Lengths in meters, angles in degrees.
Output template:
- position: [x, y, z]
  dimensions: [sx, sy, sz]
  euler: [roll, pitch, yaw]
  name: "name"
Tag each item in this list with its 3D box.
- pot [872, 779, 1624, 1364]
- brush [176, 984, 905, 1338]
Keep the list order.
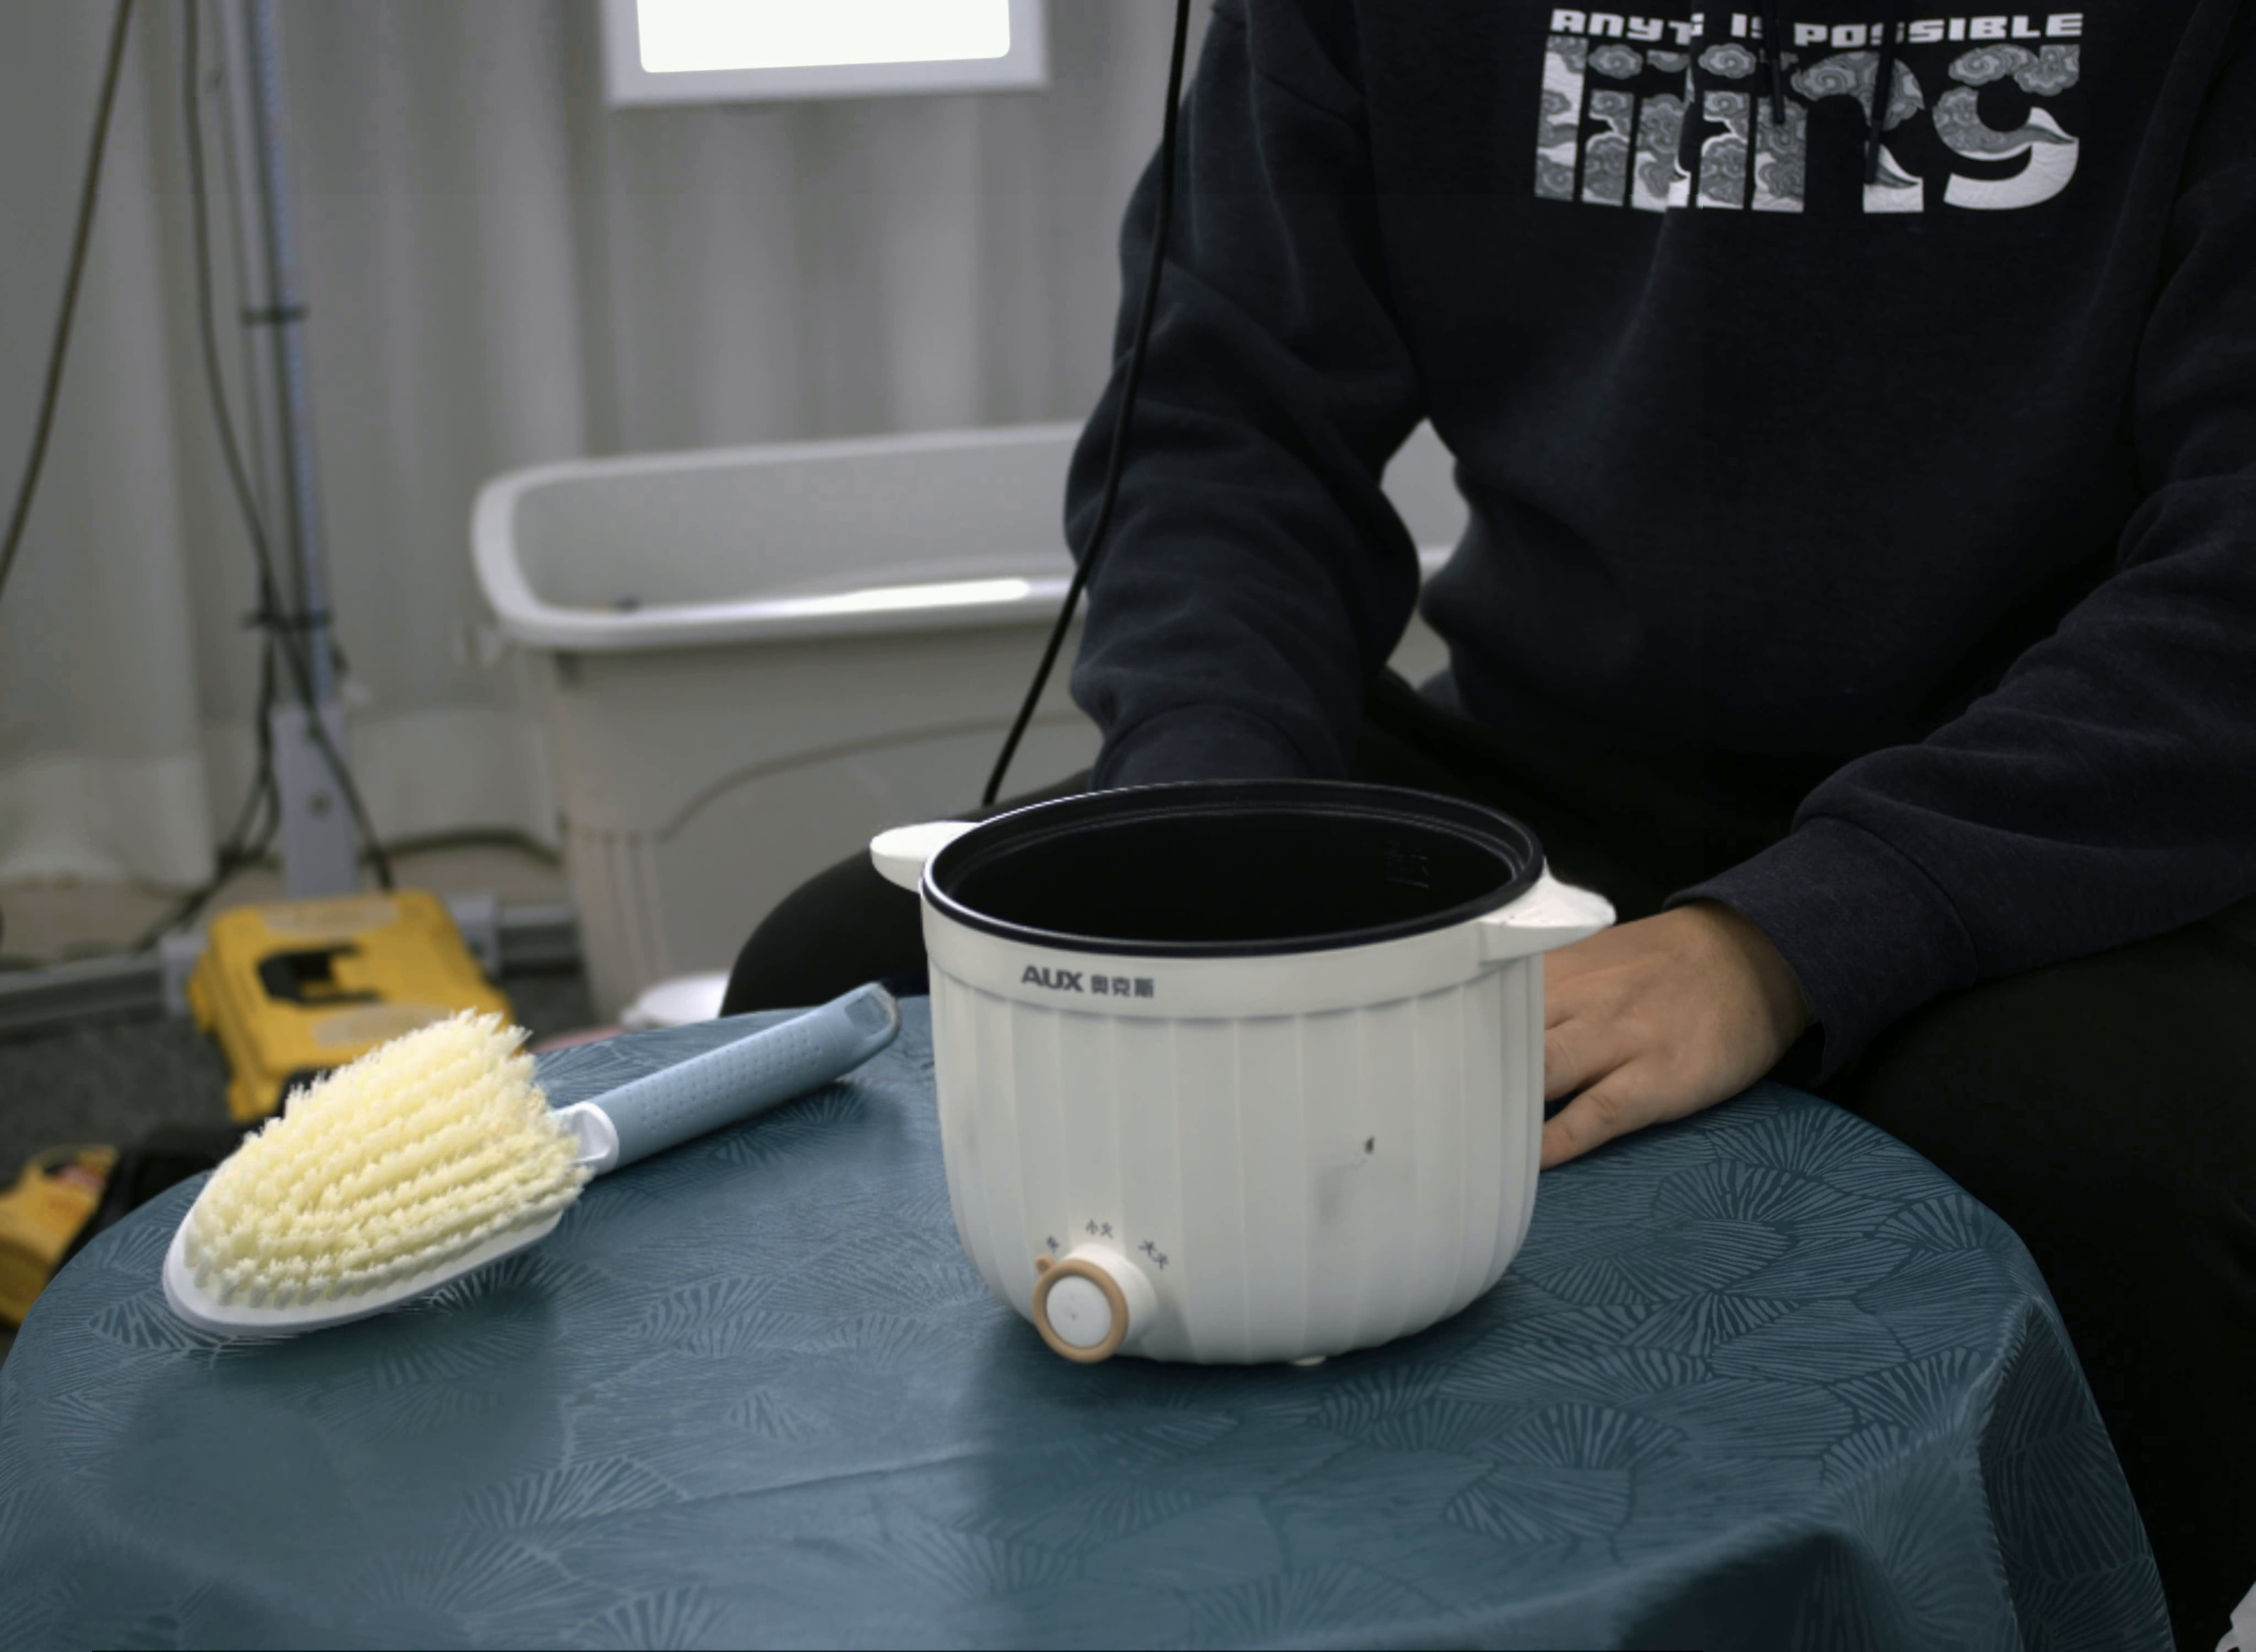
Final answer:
- position: [0.032, 0.074, 1.595]
  dimensions: [0.241, 0.142, 0.190]
  euler: [4, 13, 29]
  name: "pot"
- position: [-0.165, 0.081, 1.714]
  dimensions: [0.085, 0.083, 0.325]
  euler: [4, 17, 39]
  name: "brush"
